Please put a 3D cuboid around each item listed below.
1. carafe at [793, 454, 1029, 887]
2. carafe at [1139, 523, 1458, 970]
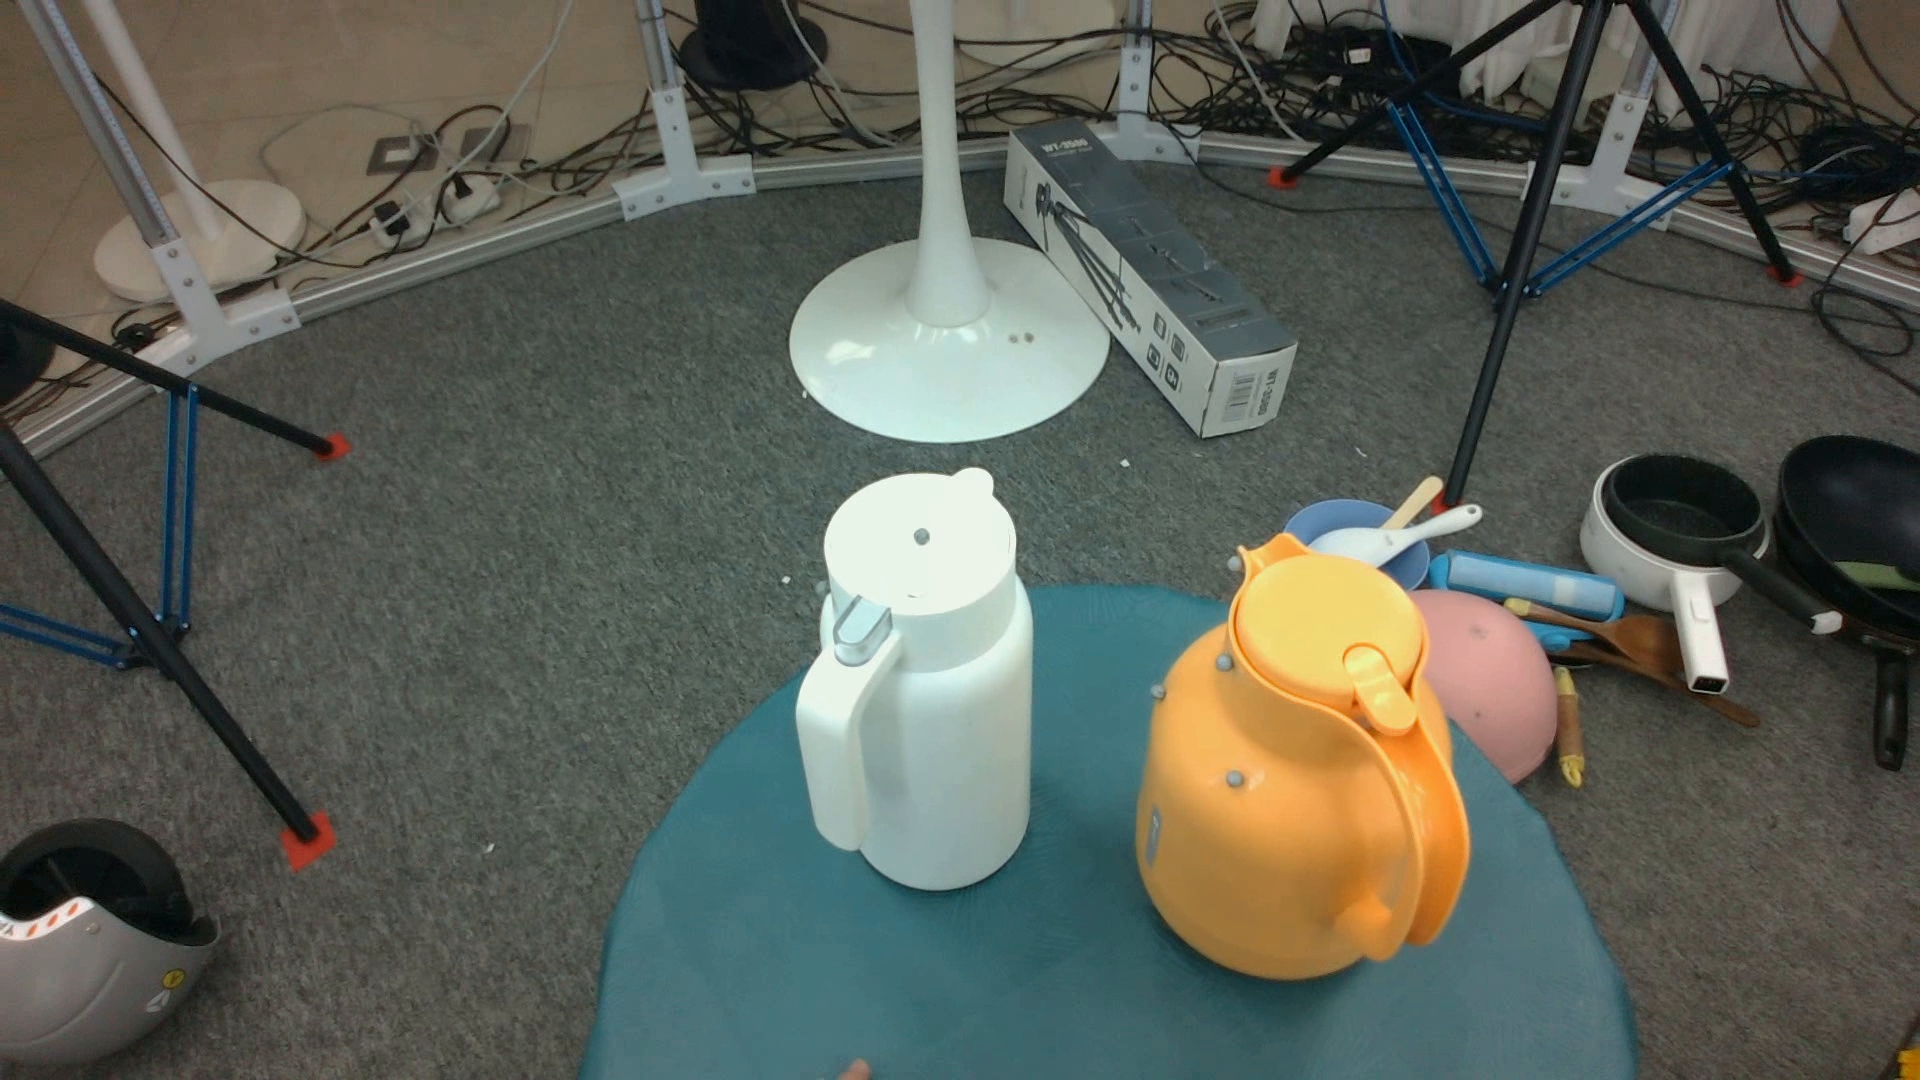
[{"bbox_3d":[-0.027,0.098,0.785,0.124,0.267,0.173,21,51,17],"label":"carafe"},{"bbox_3d":[0.189,0.130,0.753,0.163,0.259,0.203,-16,48,-9],"label":"carafe"}]
